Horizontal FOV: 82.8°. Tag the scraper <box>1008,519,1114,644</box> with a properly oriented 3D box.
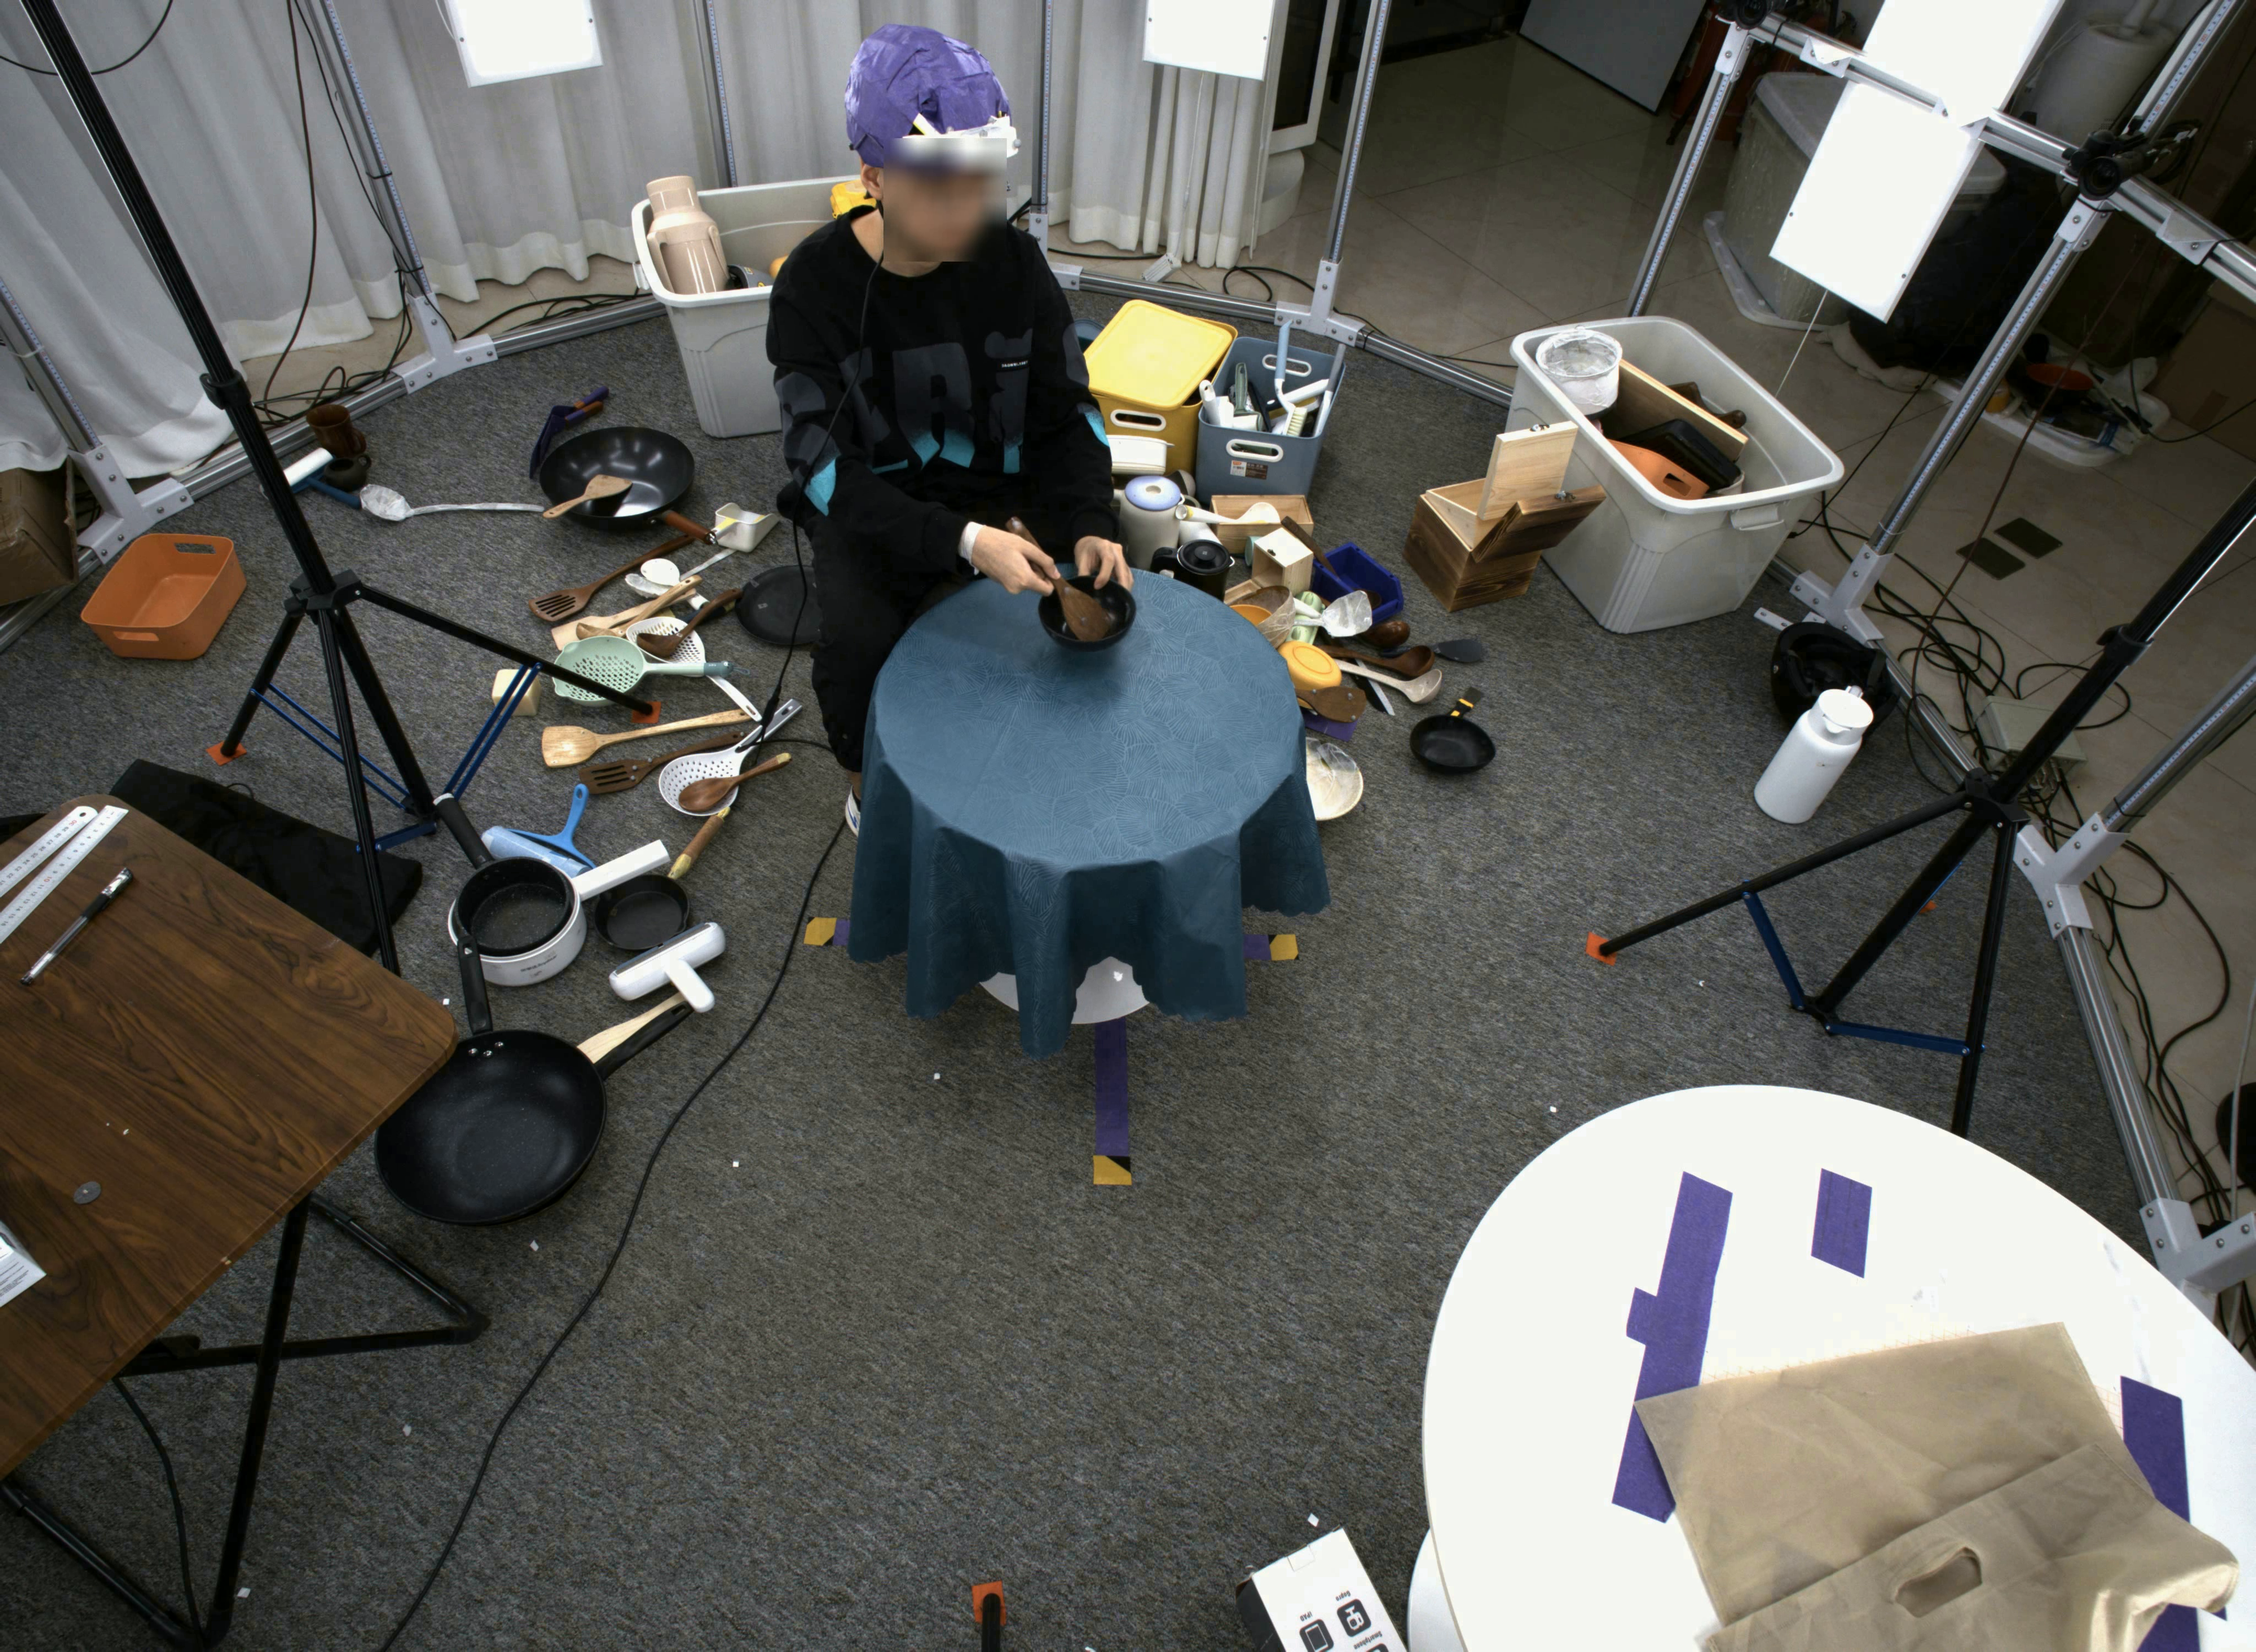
[{"bbox_3d":[-0.099,-0.348,1.837,0.209,0.011,0.077,51,51,-11],"label":"scraper"}]

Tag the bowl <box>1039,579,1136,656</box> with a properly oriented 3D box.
[{"bbox_3d":[-0.057,-0.292,1.853,0.140,0.048,0.143,-2,51,2],"label":"bowl"}]
